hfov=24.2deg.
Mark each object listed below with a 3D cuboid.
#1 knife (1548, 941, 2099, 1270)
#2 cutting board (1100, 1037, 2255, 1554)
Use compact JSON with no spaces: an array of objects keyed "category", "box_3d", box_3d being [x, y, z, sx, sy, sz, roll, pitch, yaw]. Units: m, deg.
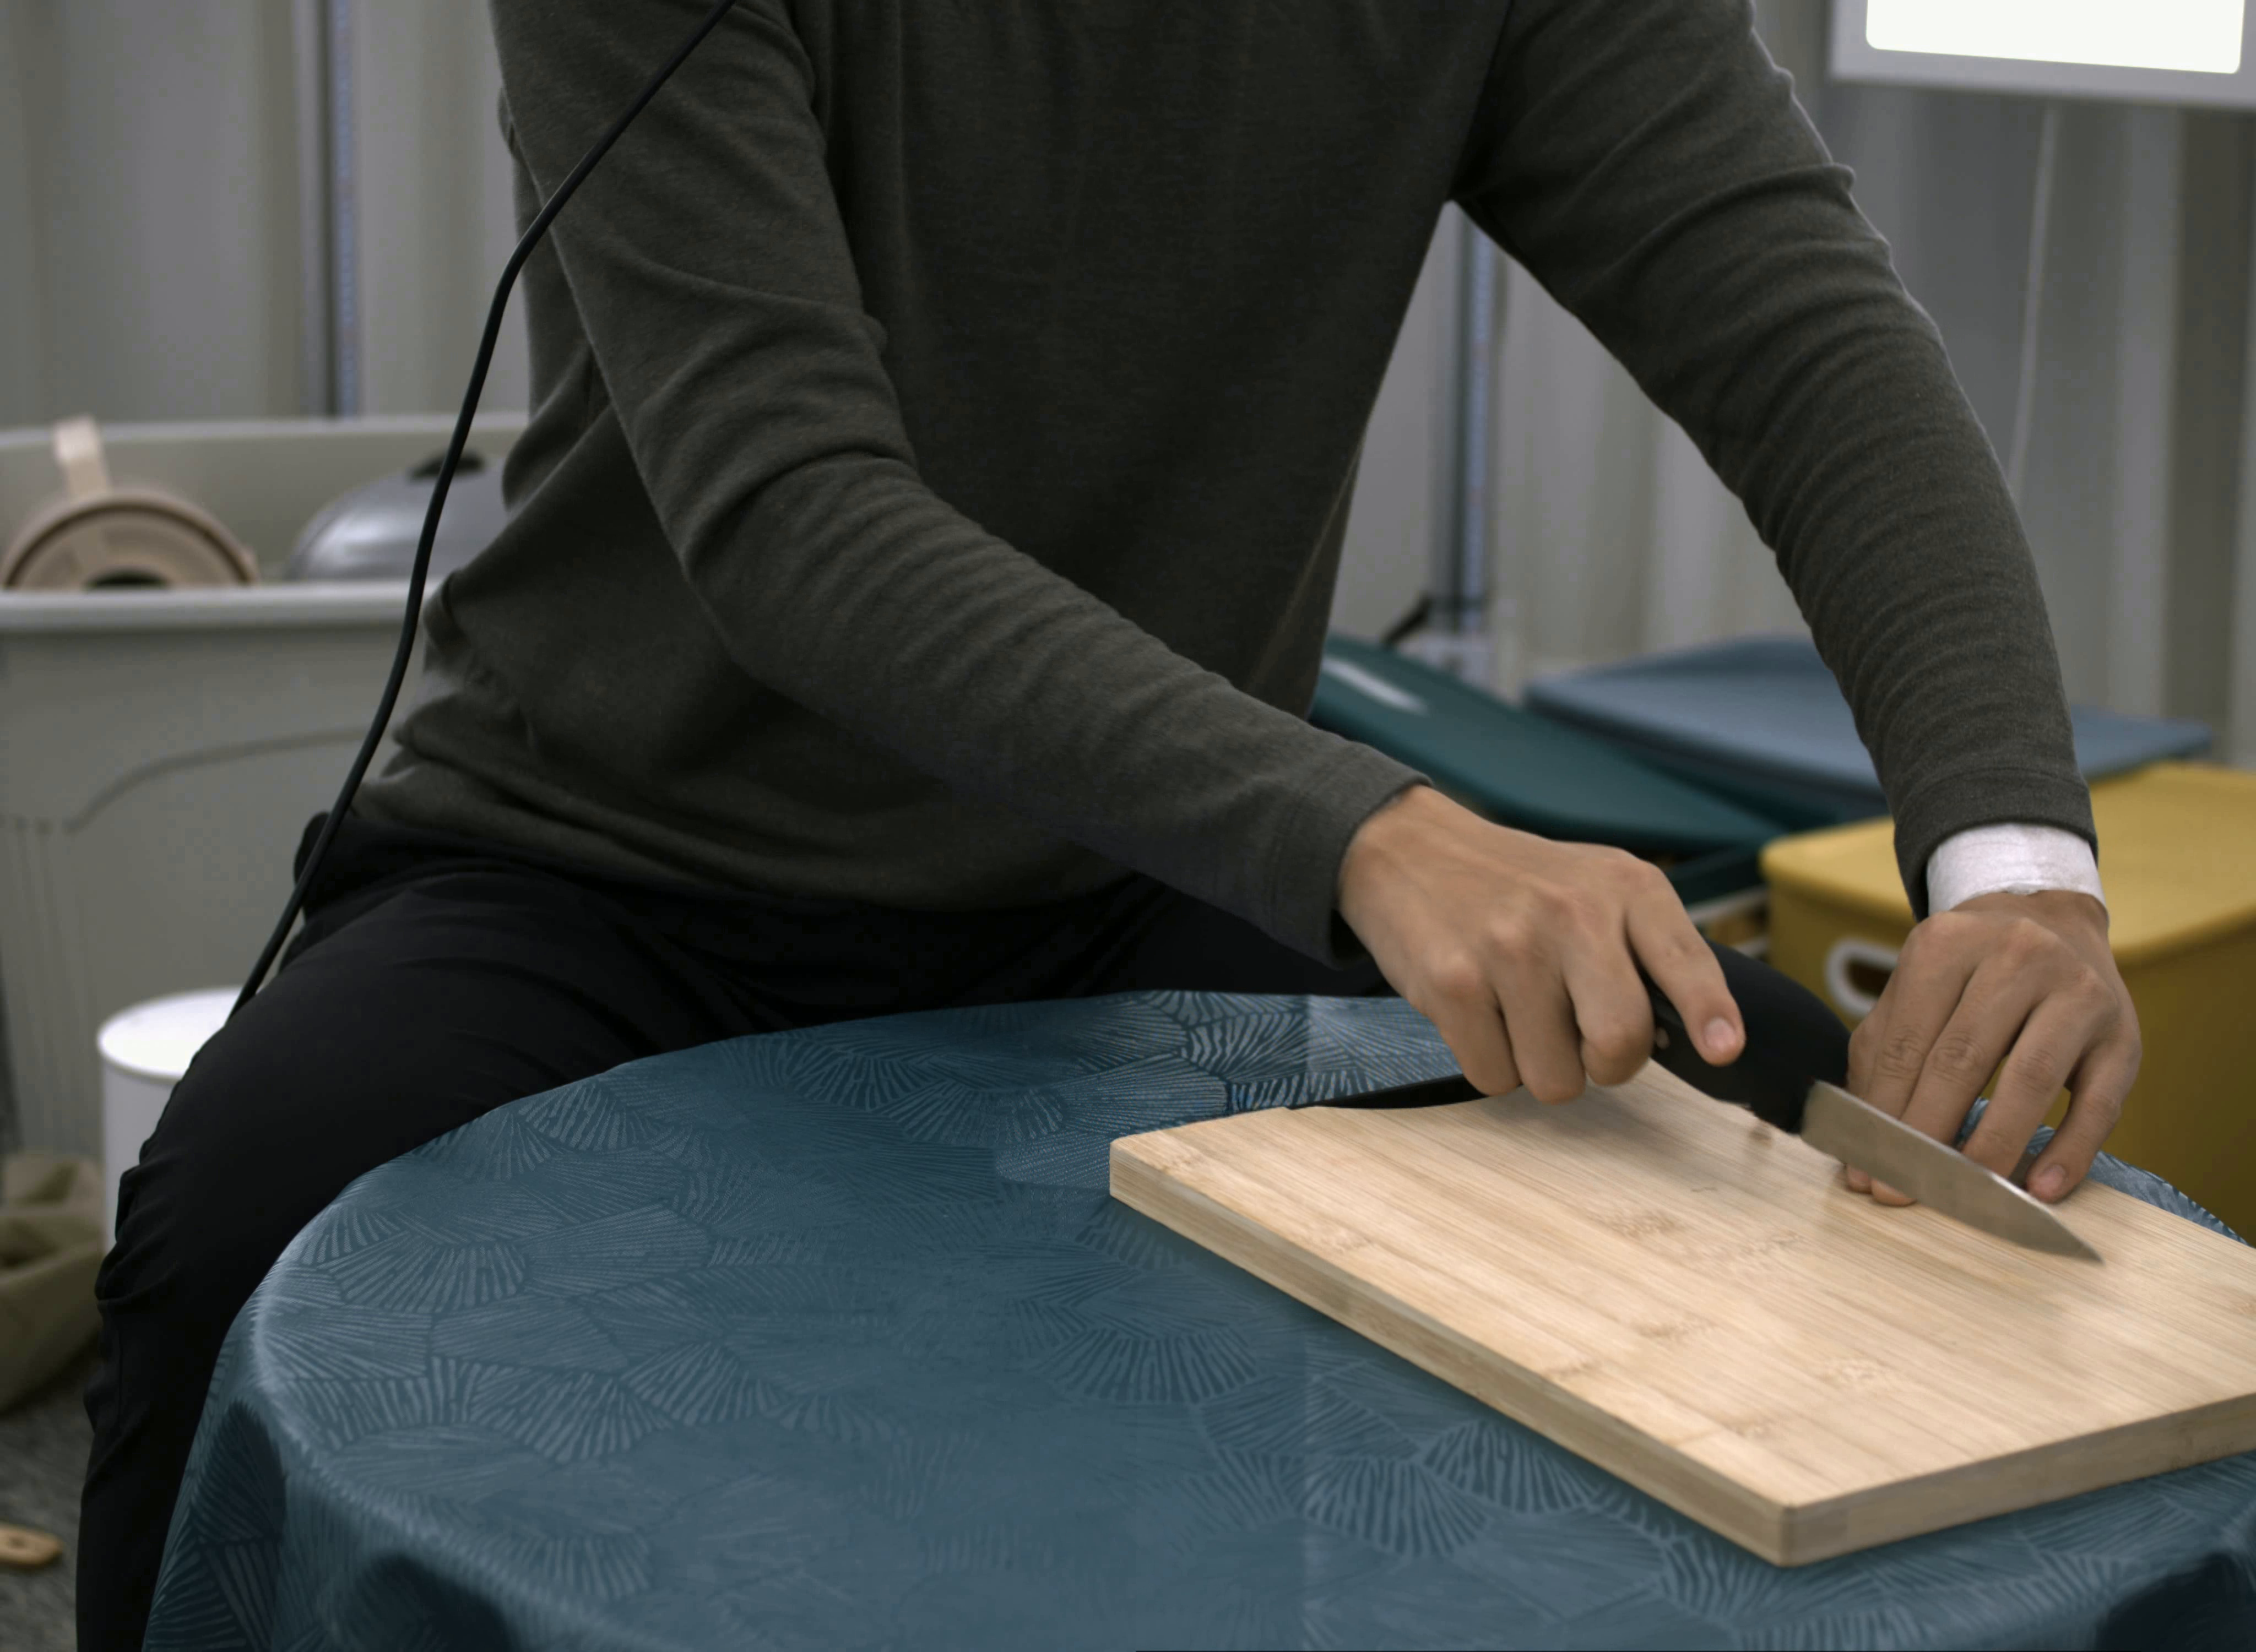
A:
[{"category":"knife","box_3d":[0.203,0.080,1.556,0.016,0.024,0.235,-11,27,-34]},{"category":"cutting board","box_3d":[0.181,0.127,1.549,0.252,0.024,0.344,-8,18,-32]}]
